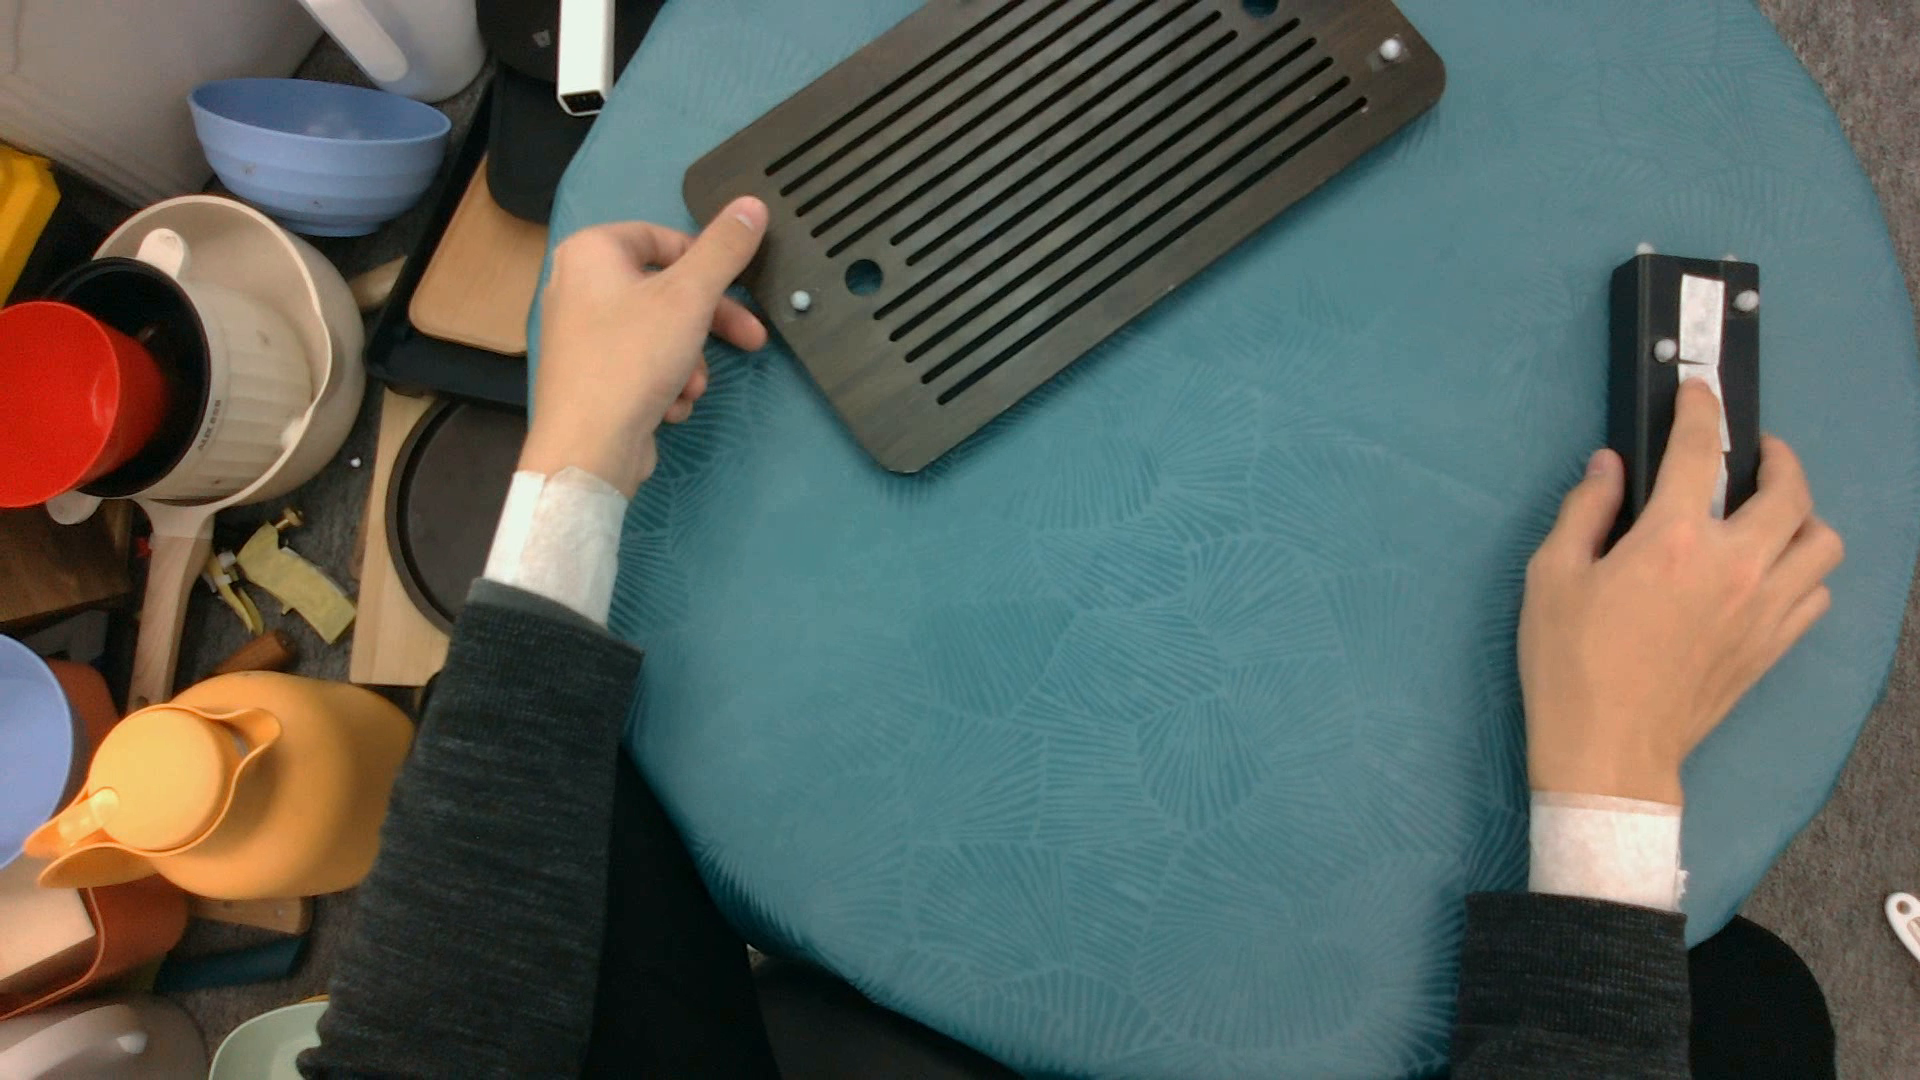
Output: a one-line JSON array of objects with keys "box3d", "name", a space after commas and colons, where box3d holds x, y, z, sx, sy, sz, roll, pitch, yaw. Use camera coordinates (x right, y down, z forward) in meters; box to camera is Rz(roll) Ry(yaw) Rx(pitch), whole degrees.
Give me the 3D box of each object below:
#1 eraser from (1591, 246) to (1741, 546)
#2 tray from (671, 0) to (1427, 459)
[{"box3d": [0.295, -0.061, 0.577, 0.053, 0.030, 0.126, 5, 80, 5], "name": "eraser"}, {"box3d": [0.040, -0.183, 0.608, 0.306, 0.018, 0.170, -36, 81, -6], "name": "tray"}]
